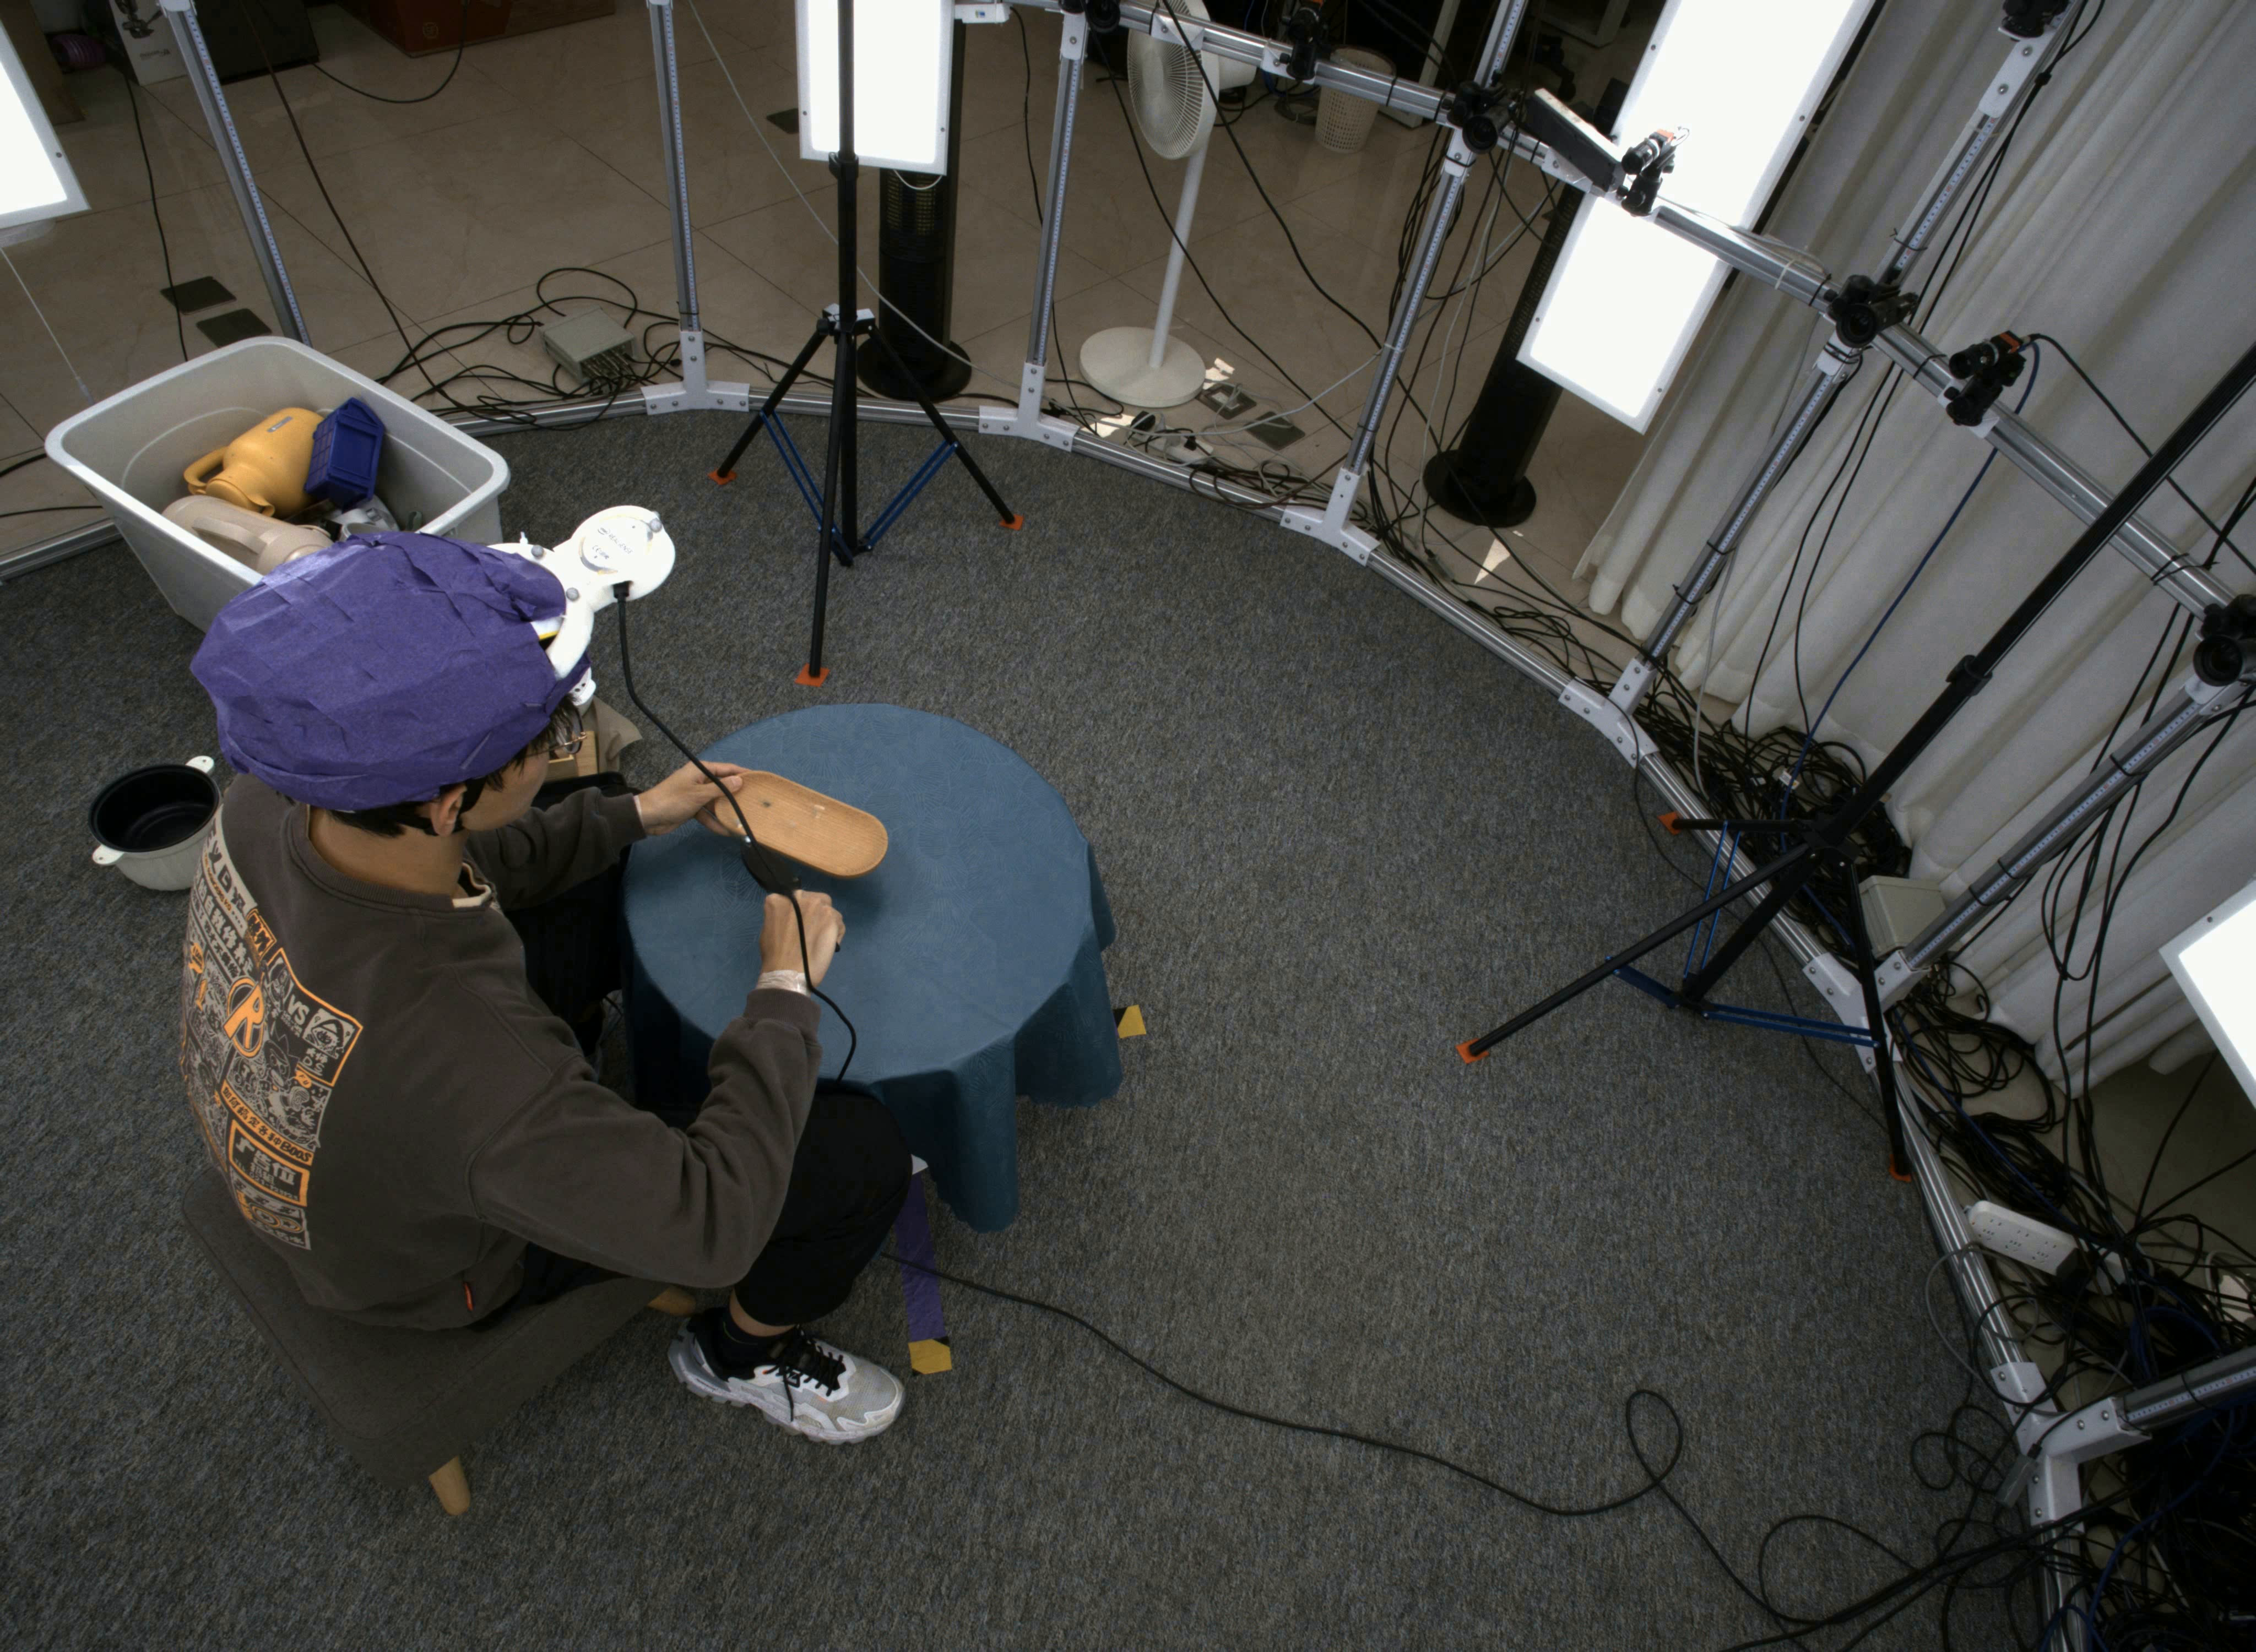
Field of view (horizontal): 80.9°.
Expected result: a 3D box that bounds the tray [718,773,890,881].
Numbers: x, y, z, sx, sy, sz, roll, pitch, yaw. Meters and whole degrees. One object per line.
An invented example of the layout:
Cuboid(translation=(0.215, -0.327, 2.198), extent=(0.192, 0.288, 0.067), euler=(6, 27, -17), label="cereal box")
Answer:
Cuboid(translation=(-0.412, 0.000, 1.648), extent=(0.229, 0.020, 0.101), euler=(23, 57, 2), label="tray")

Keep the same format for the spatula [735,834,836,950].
Cuboid(translation=(-0.373, 0.078, 1.453), extent=(0.103, 0.315, 0.040), euler=(38, 81, -32), label="spatula")
